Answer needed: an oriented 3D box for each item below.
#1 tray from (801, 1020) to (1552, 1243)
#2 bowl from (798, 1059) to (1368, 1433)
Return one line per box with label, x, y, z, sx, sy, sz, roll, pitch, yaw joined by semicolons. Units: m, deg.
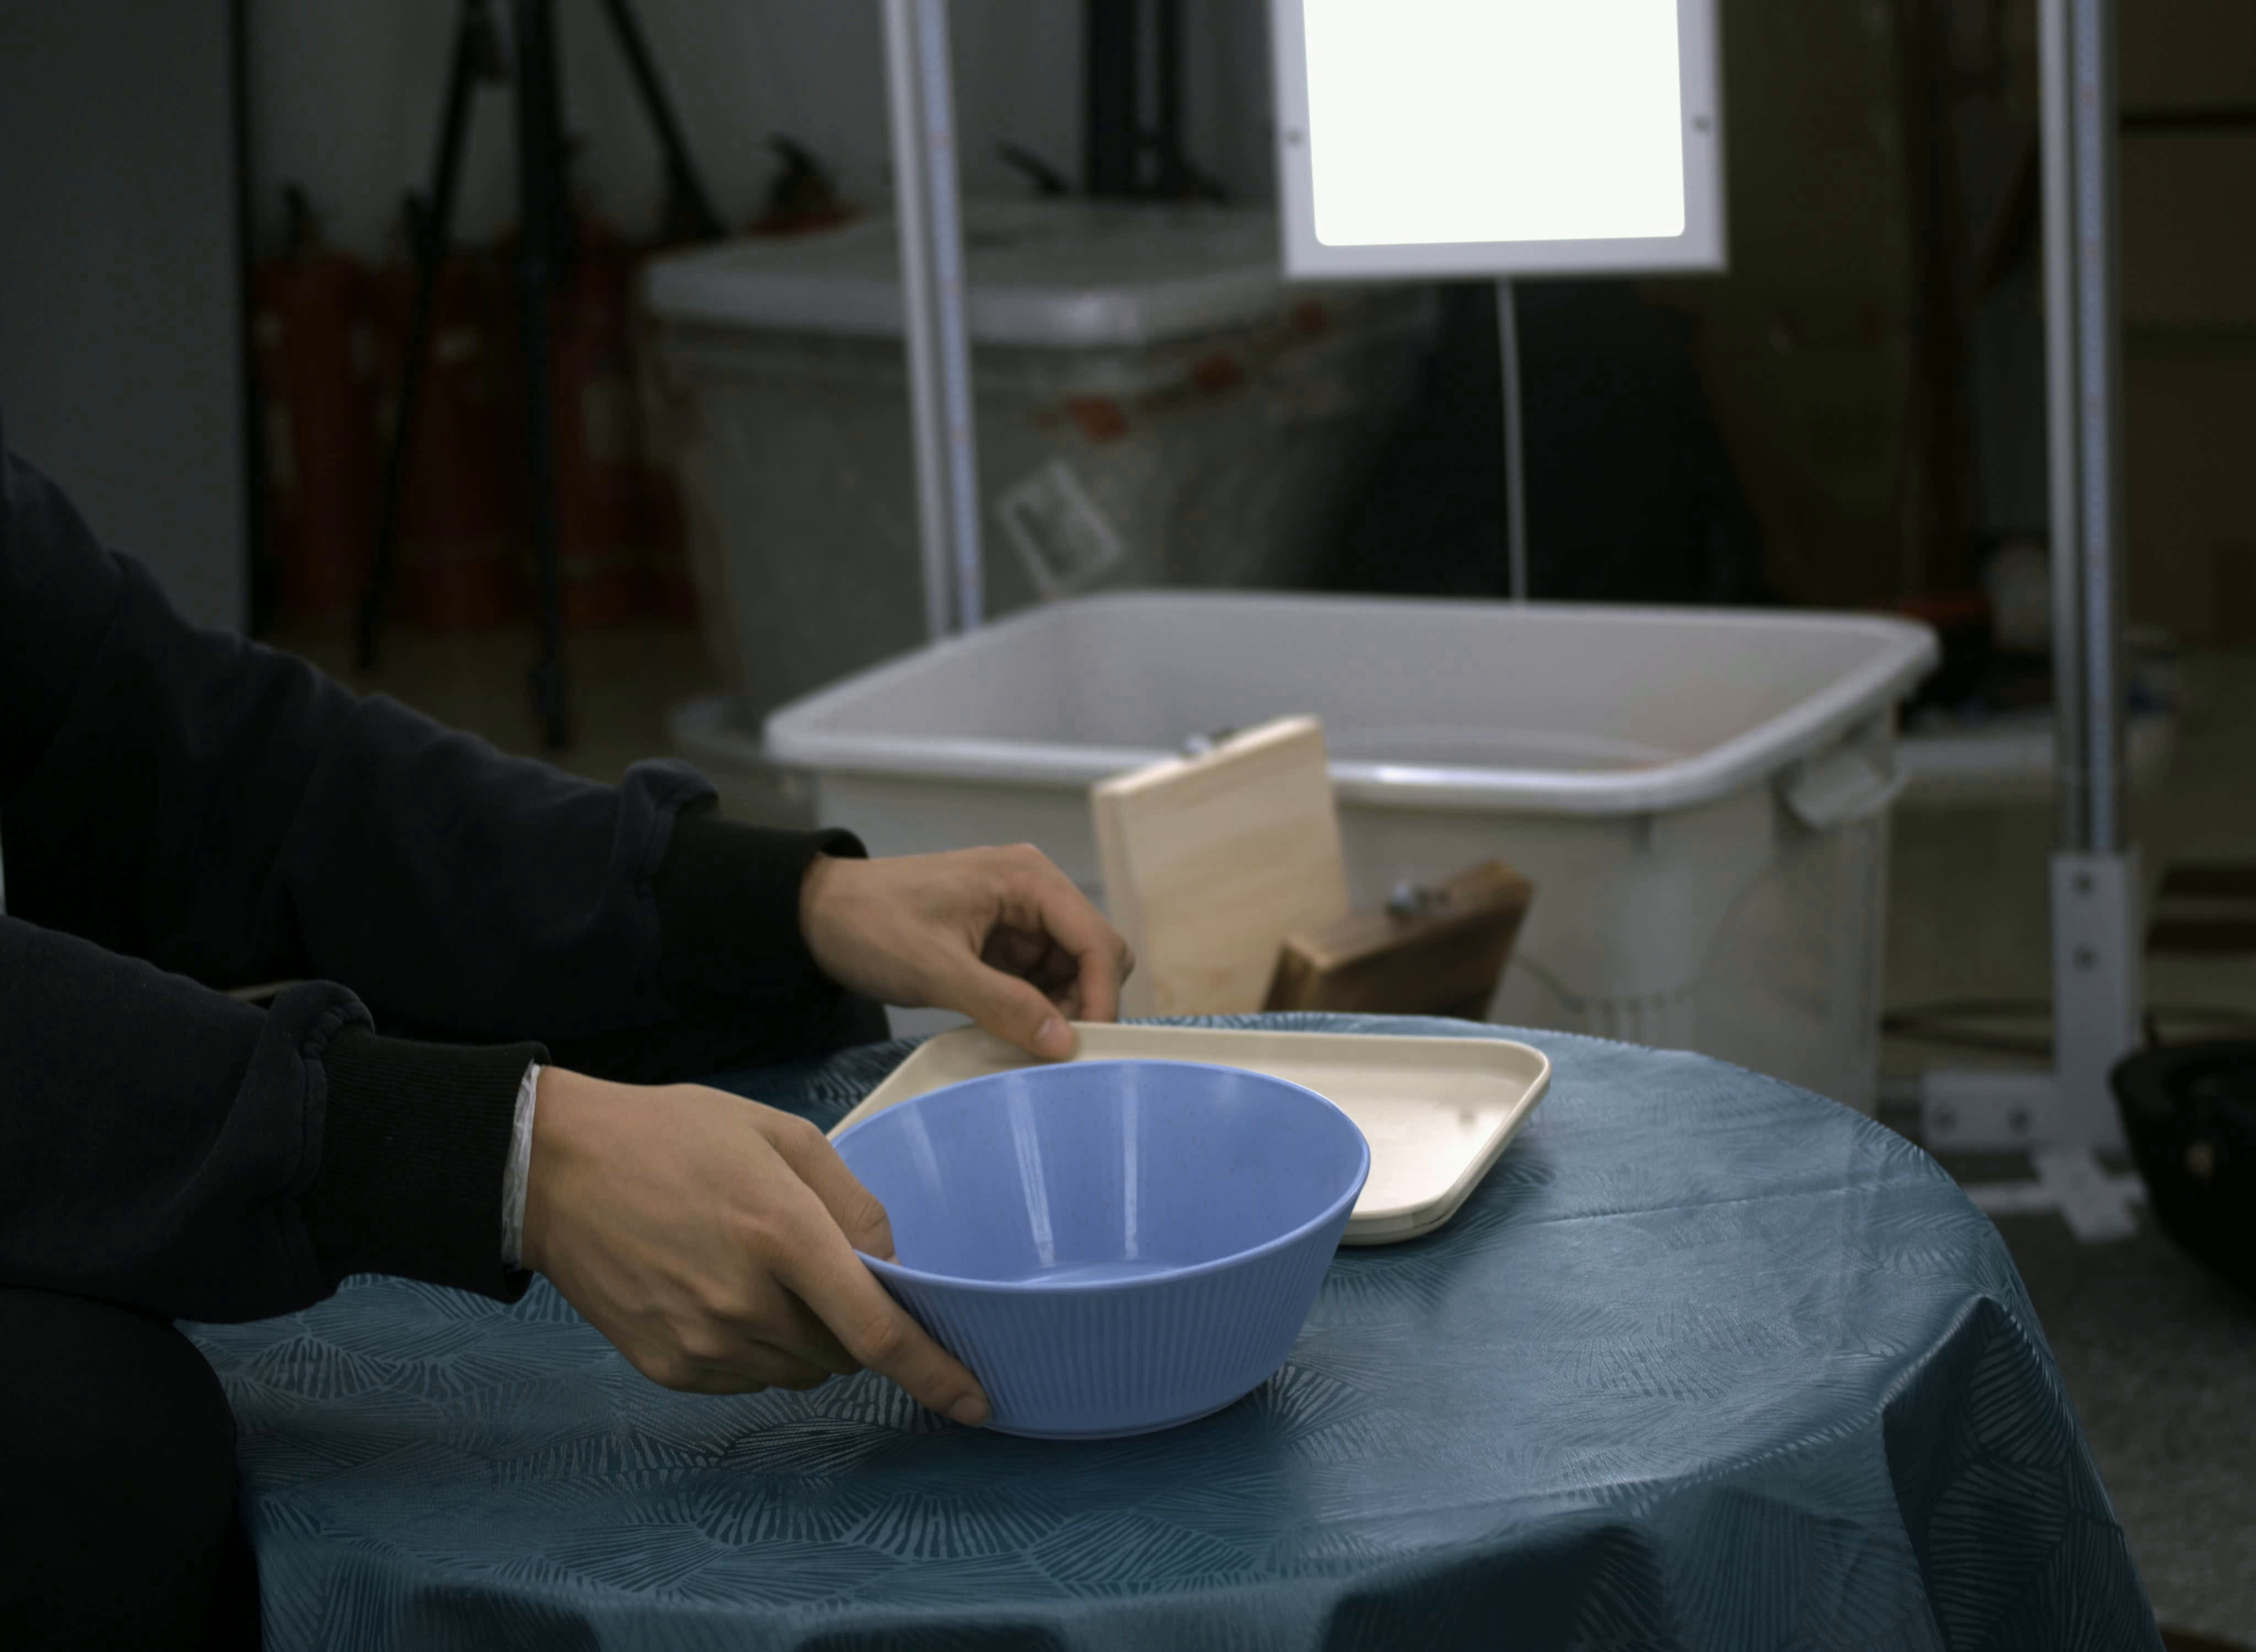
tray;0.019;0.106;1.915;0.243;0.017;0.168;1;18;22
bowl;-0.012;0.133;1.698;0.175;0.070;0.176;-4;20;0
